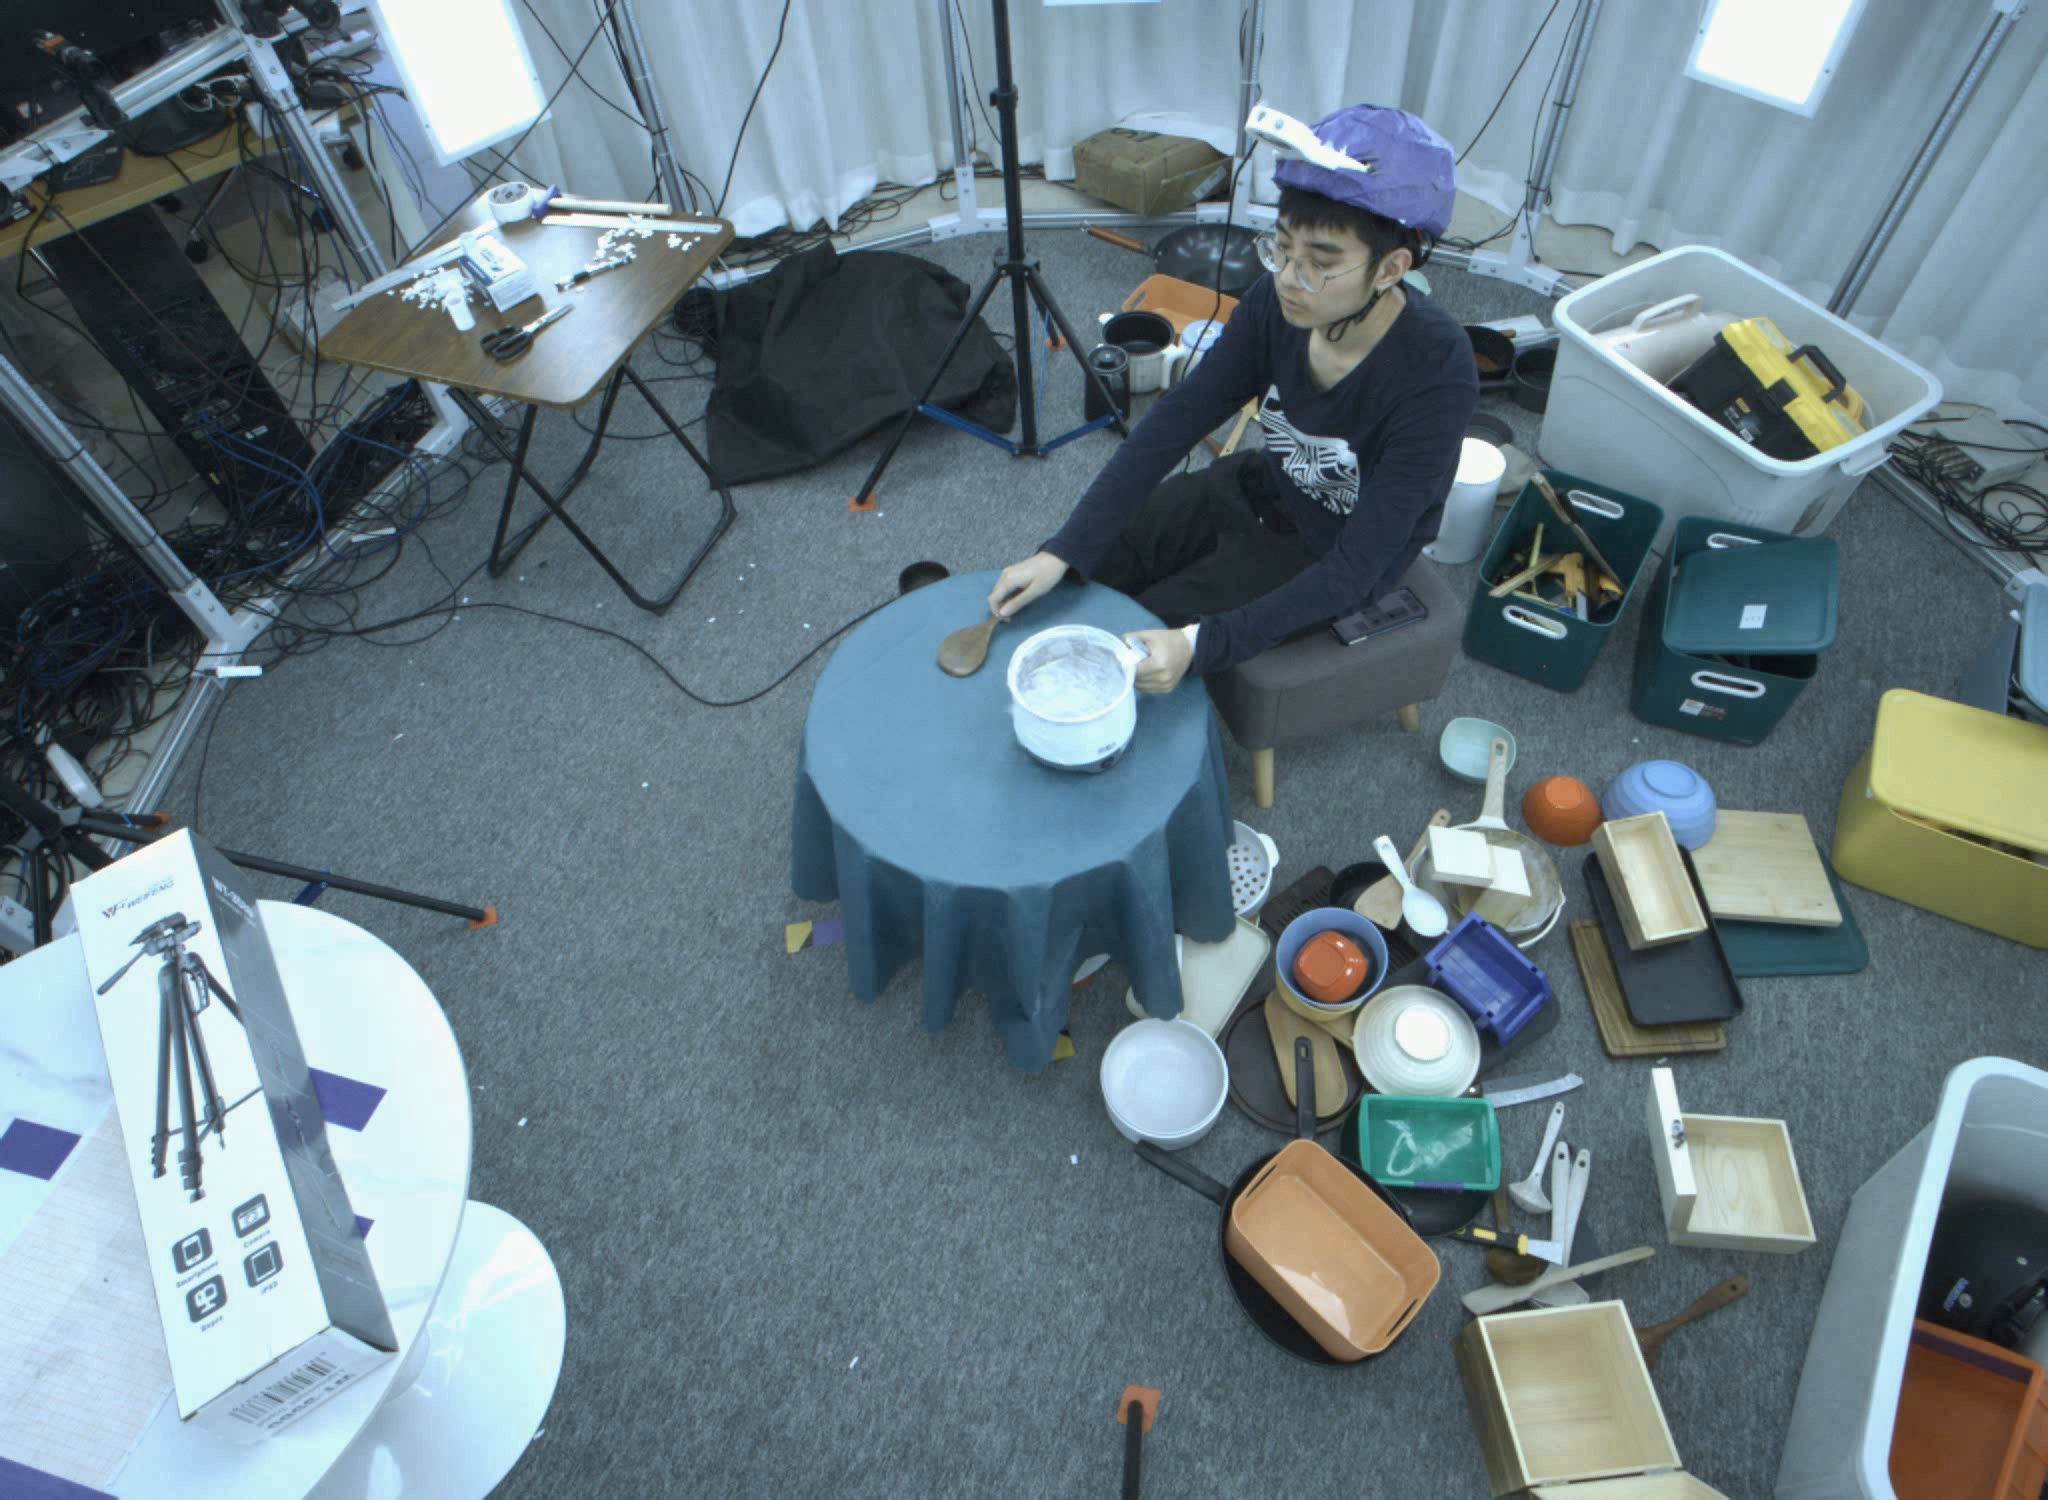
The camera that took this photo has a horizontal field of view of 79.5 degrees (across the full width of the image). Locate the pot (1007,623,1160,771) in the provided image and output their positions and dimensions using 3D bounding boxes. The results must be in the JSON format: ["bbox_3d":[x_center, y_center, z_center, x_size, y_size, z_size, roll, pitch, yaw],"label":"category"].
[{"bbox_3d":[0.093,-0.085,1.764,0.235,0.138,0.175,-30,60,-16],"label":"pot"}]

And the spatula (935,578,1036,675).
[{"bbox_3d":[-0.052,-0.195,1.915,0.071,0.009,0.216,38,70,14],"label":"spatula"}]
